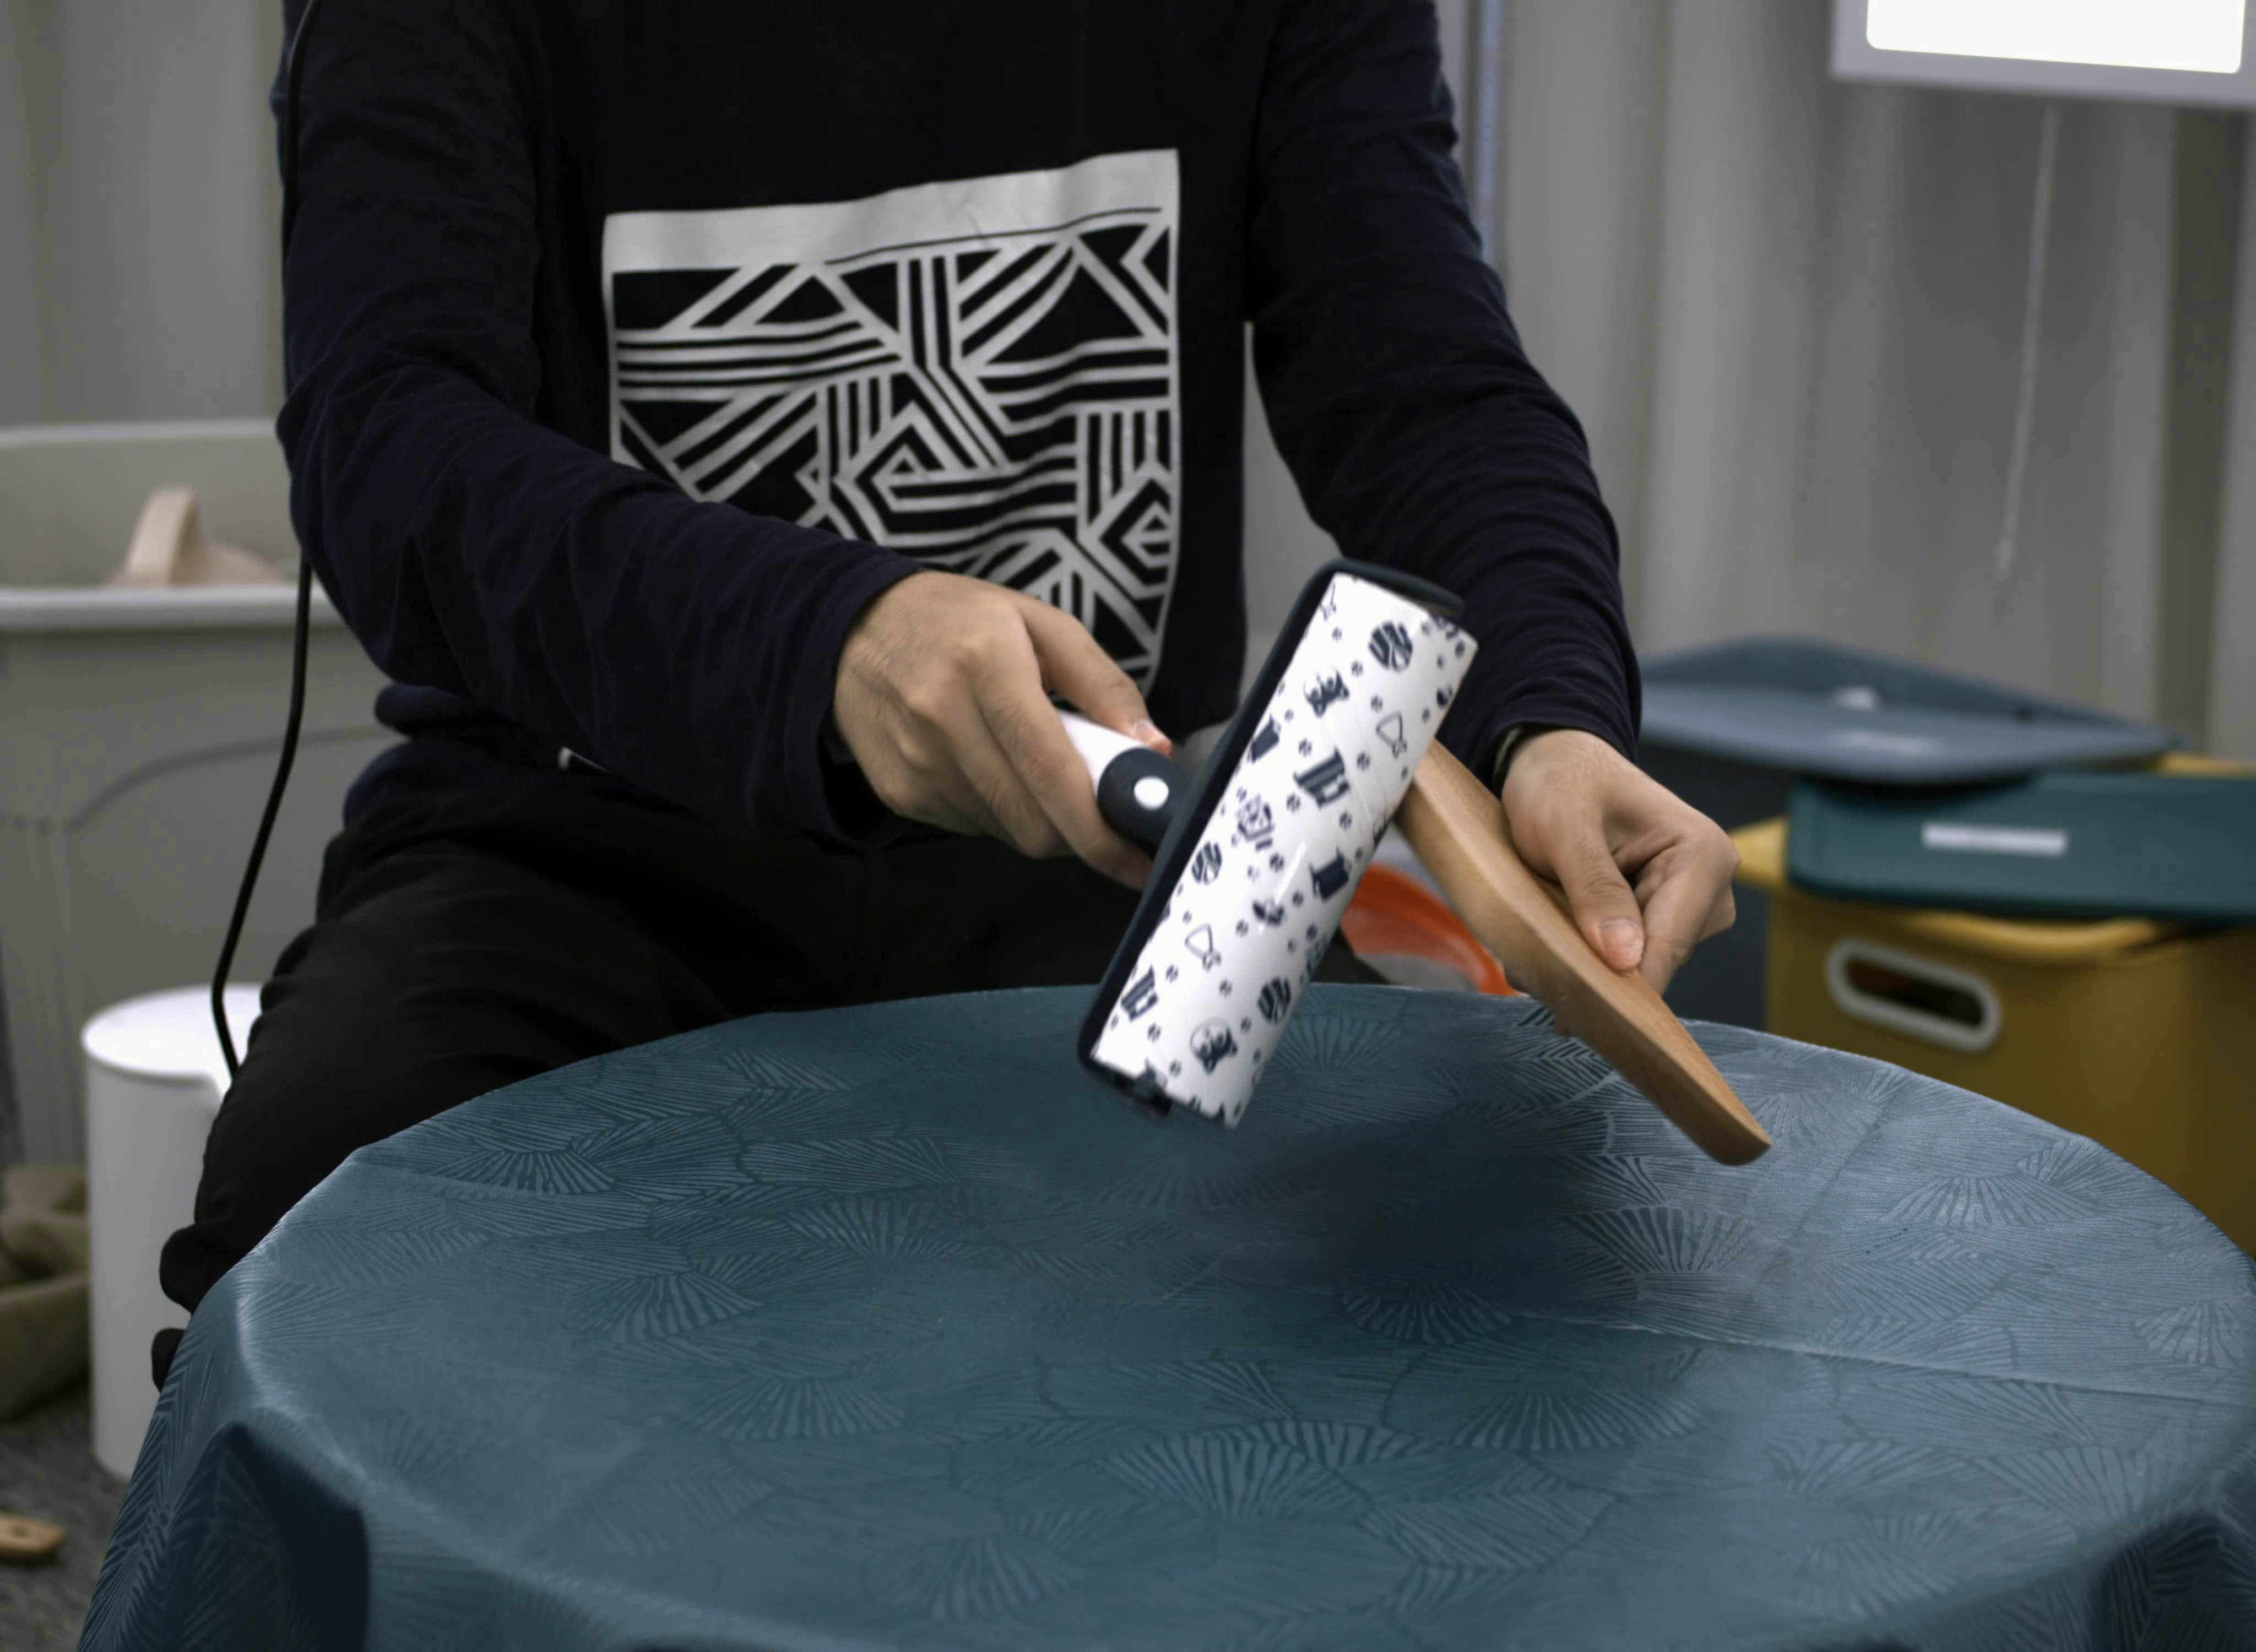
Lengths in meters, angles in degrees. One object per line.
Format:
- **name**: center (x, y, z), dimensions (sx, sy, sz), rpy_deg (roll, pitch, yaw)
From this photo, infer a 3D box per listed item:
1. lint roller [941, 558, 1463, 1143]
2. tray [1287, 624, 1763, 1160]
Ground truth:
- **lint roller**: center (-0.004, -0.011, 1.617), dimensions (0.051, 0.176, 0.244), rpy_deg (27, -2, -31)
- **tray**: center (0.114, 0.017, 1.596), dimensions (0.023, 0.132, 0.248), rpy_deg (-42, 25, 5)
